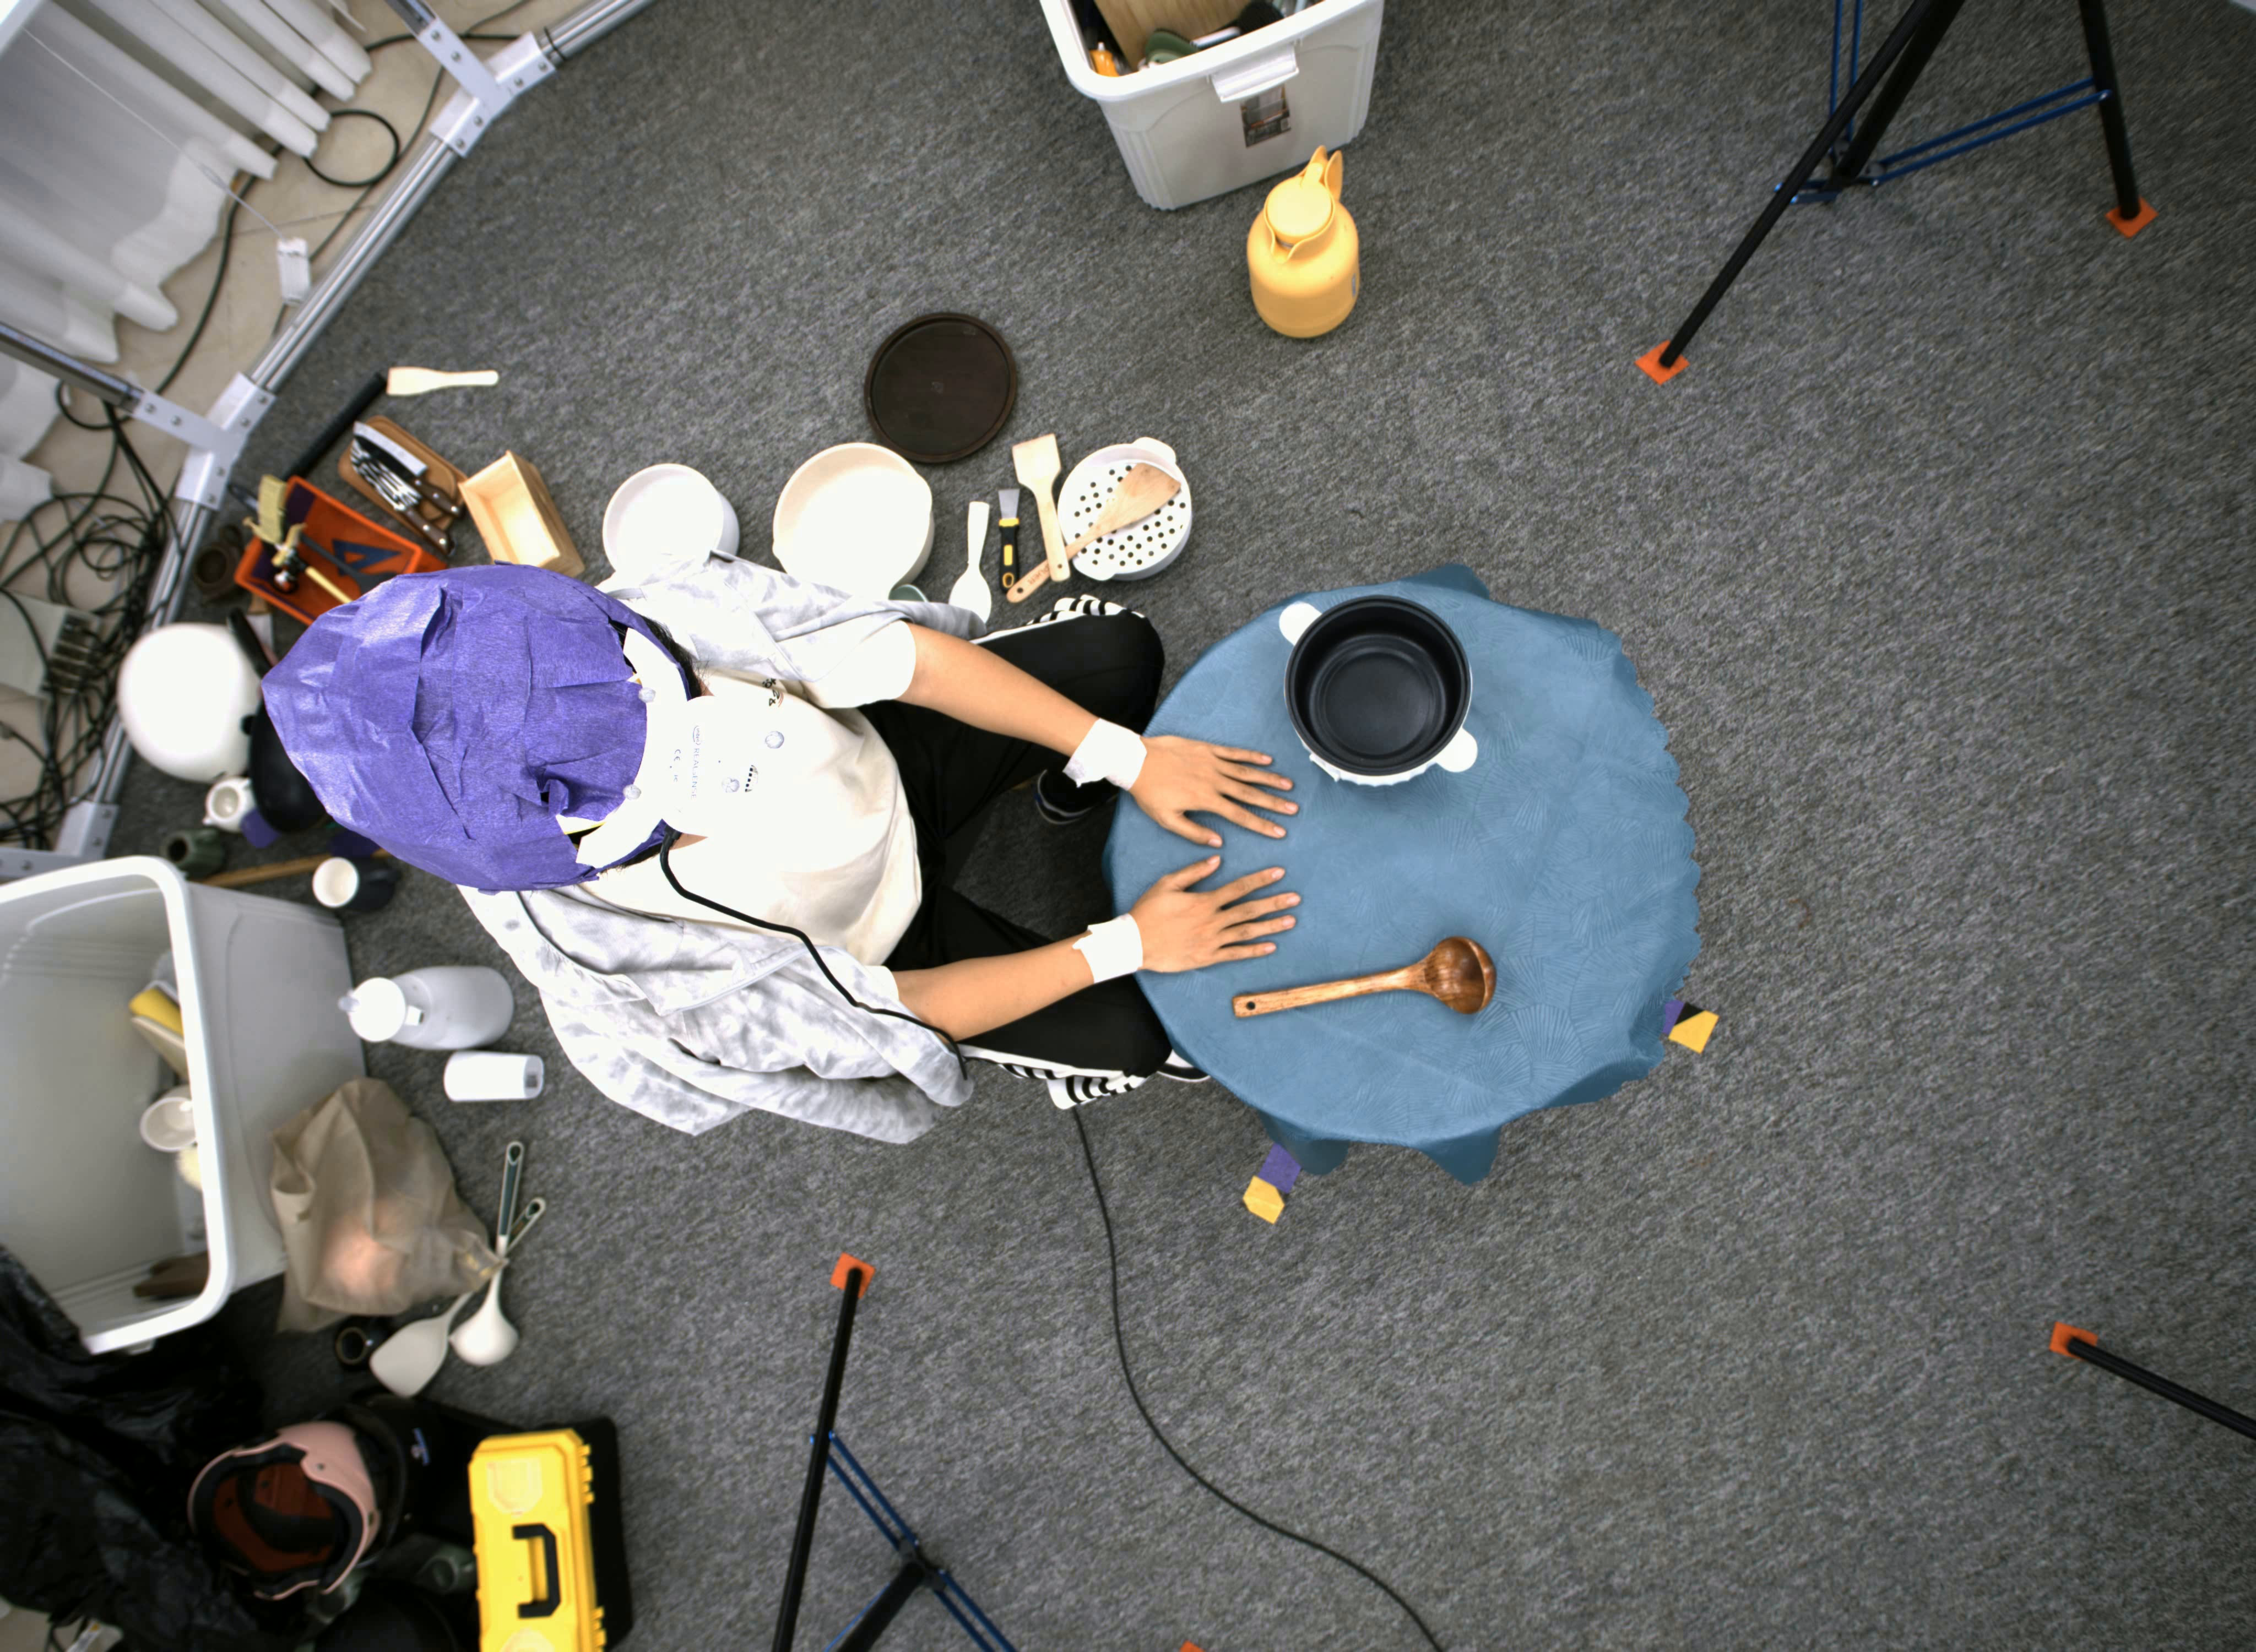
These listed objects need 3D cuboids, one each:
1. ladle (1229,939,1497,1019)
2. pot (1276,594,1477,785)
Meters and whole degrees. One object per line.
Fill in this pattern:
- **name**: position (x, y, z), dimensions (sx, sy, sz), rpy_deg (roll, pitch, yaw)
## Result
- **ladle**: position (0.238, 0.169, 1.419), dimensions (0.275, 0.076, 0.082), rpy_deg (-9, 92, 9)
- **pot**: position (0.256, -0.138, 1.401), dimensions (0.239, 0.142, 0.192), rpy_deg (41, 97, 9)
